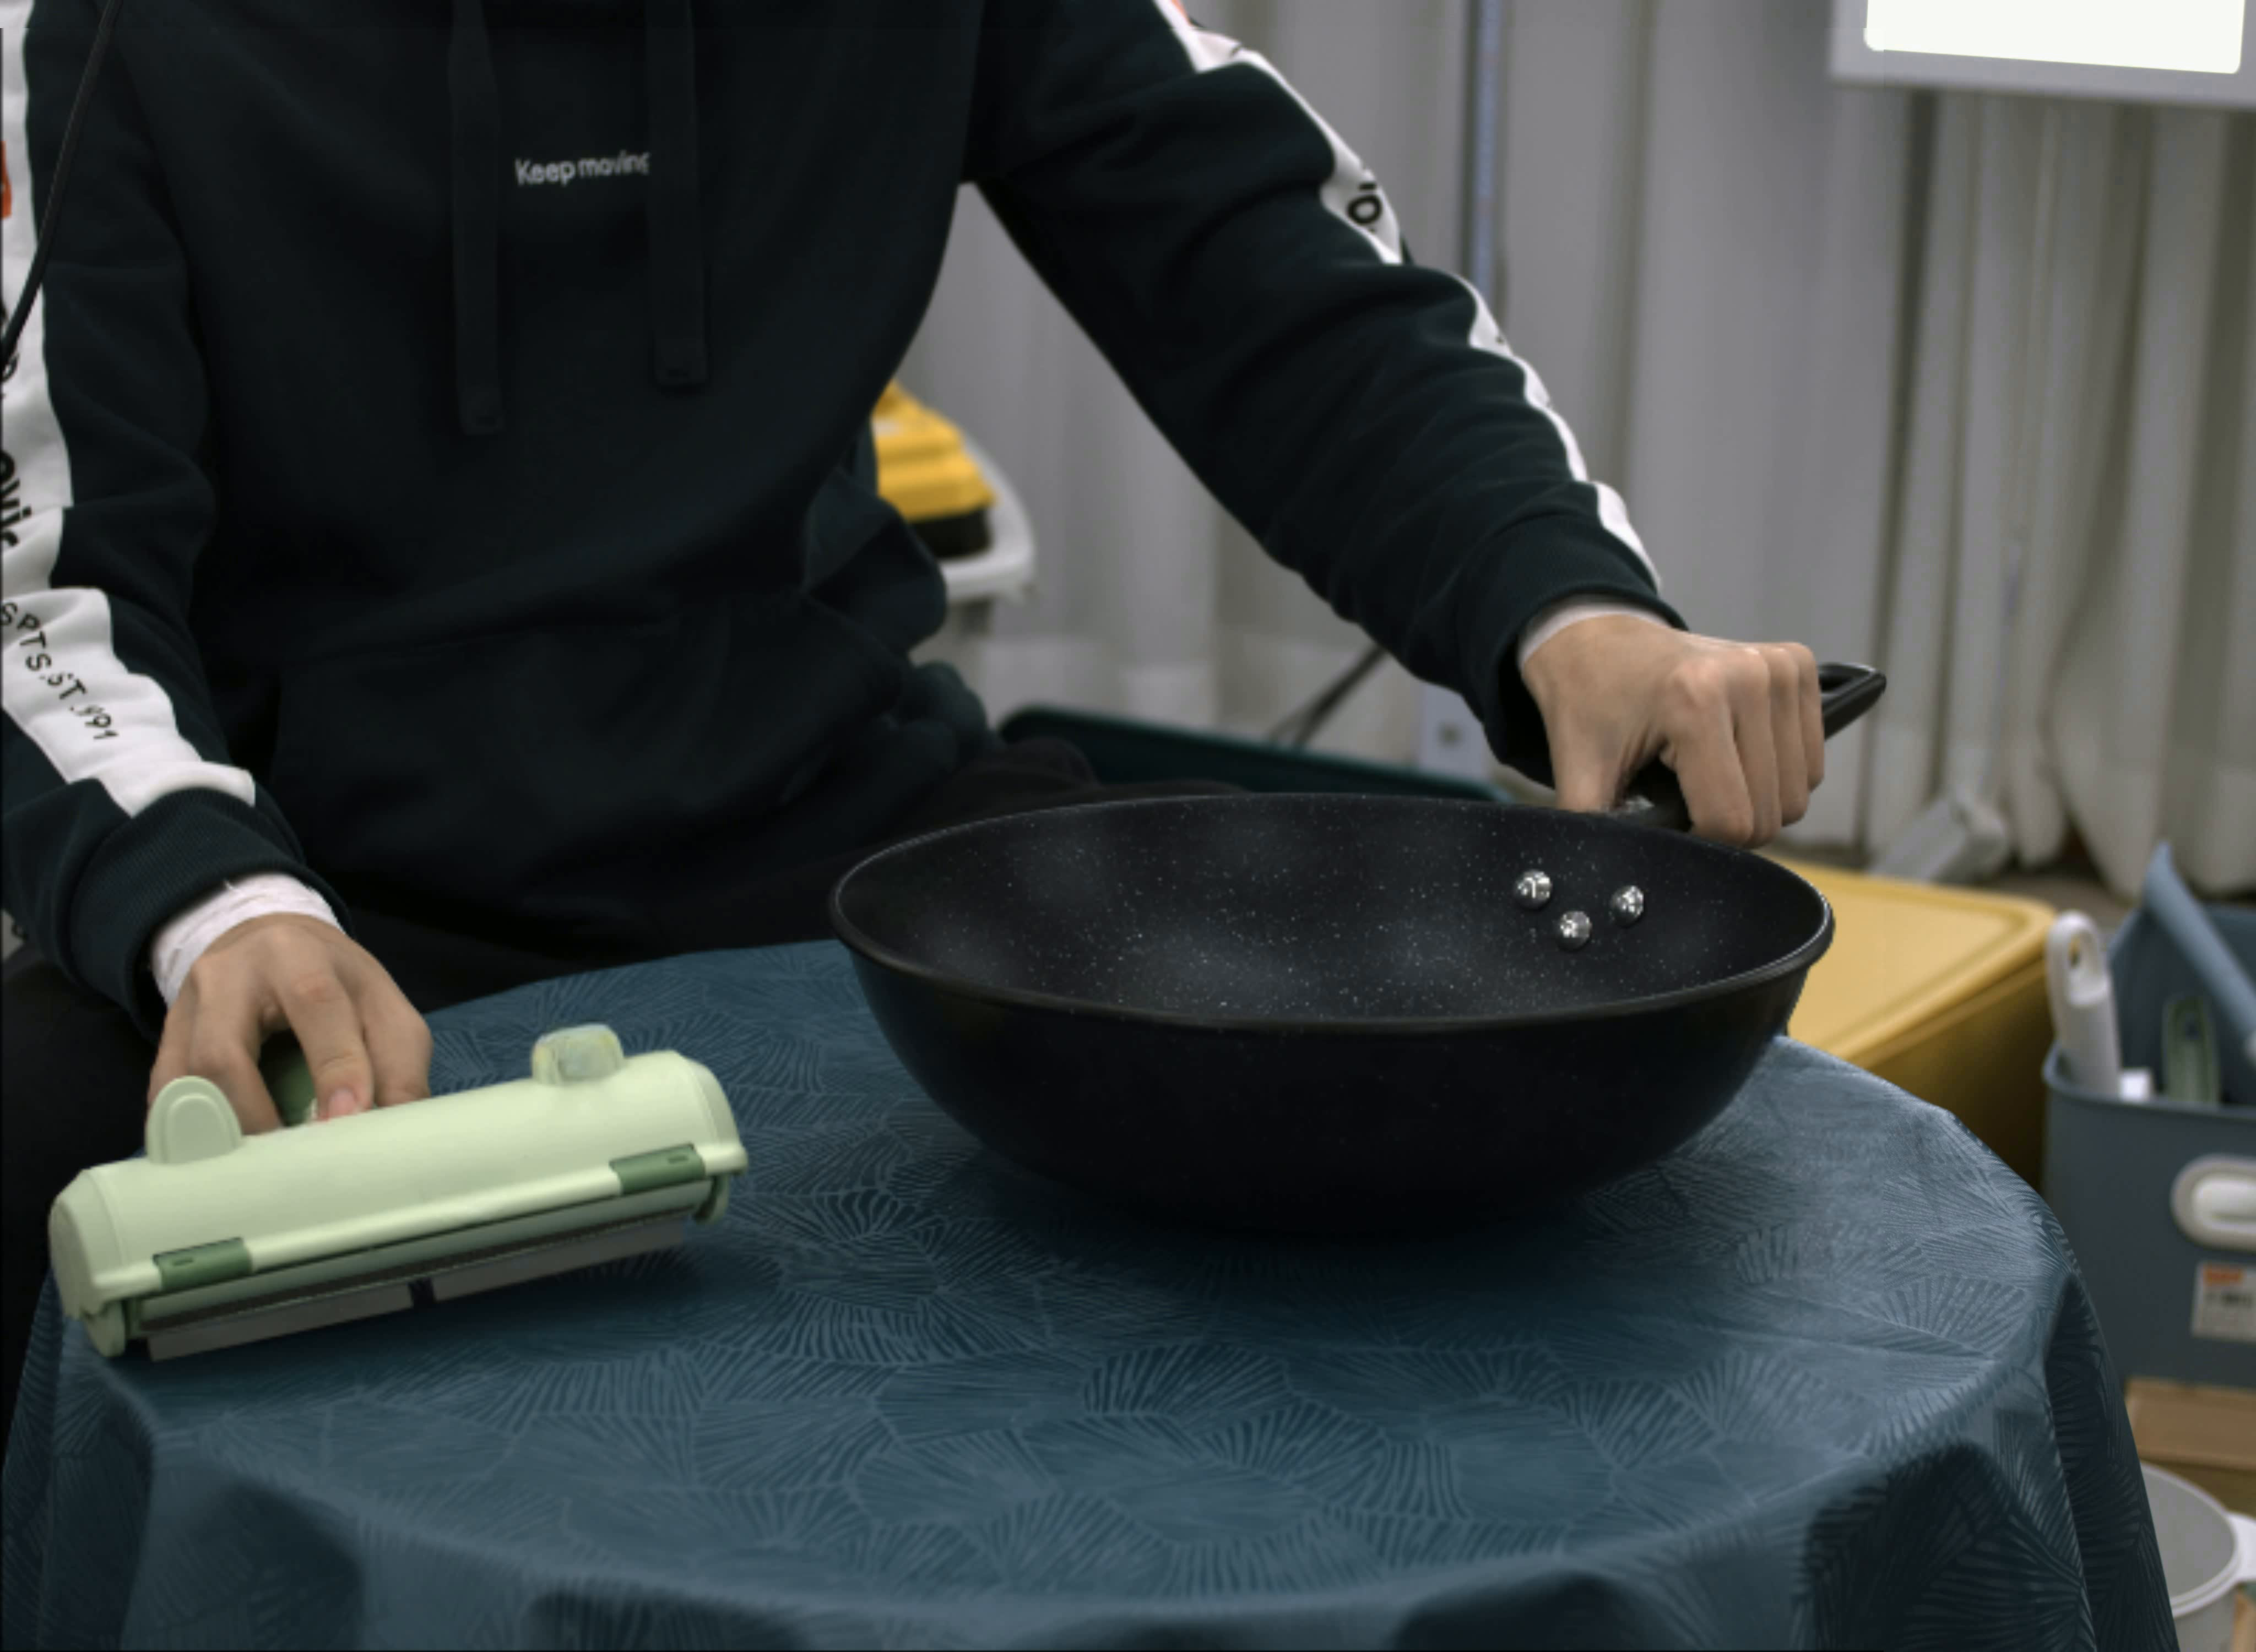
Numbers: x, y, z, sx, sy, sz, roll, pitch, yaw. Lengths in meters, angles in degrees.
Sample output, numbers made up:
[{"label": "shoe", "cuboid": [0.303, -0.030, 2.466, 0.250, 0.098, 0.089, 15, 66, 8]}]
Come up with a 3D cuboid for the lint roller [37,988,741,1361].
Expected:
[{"label": "lint roller", "cuboid": [-0.234, 0.078, 1.548, 0.199, 0.083, 0.181, -12, 29, -23]}]

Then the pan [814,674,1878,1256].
[{"label": "pan", "cuboid": [0.109, 0.041, 1.678, 0.306, 0.112, 0.479, 11, 17, 35]}]
